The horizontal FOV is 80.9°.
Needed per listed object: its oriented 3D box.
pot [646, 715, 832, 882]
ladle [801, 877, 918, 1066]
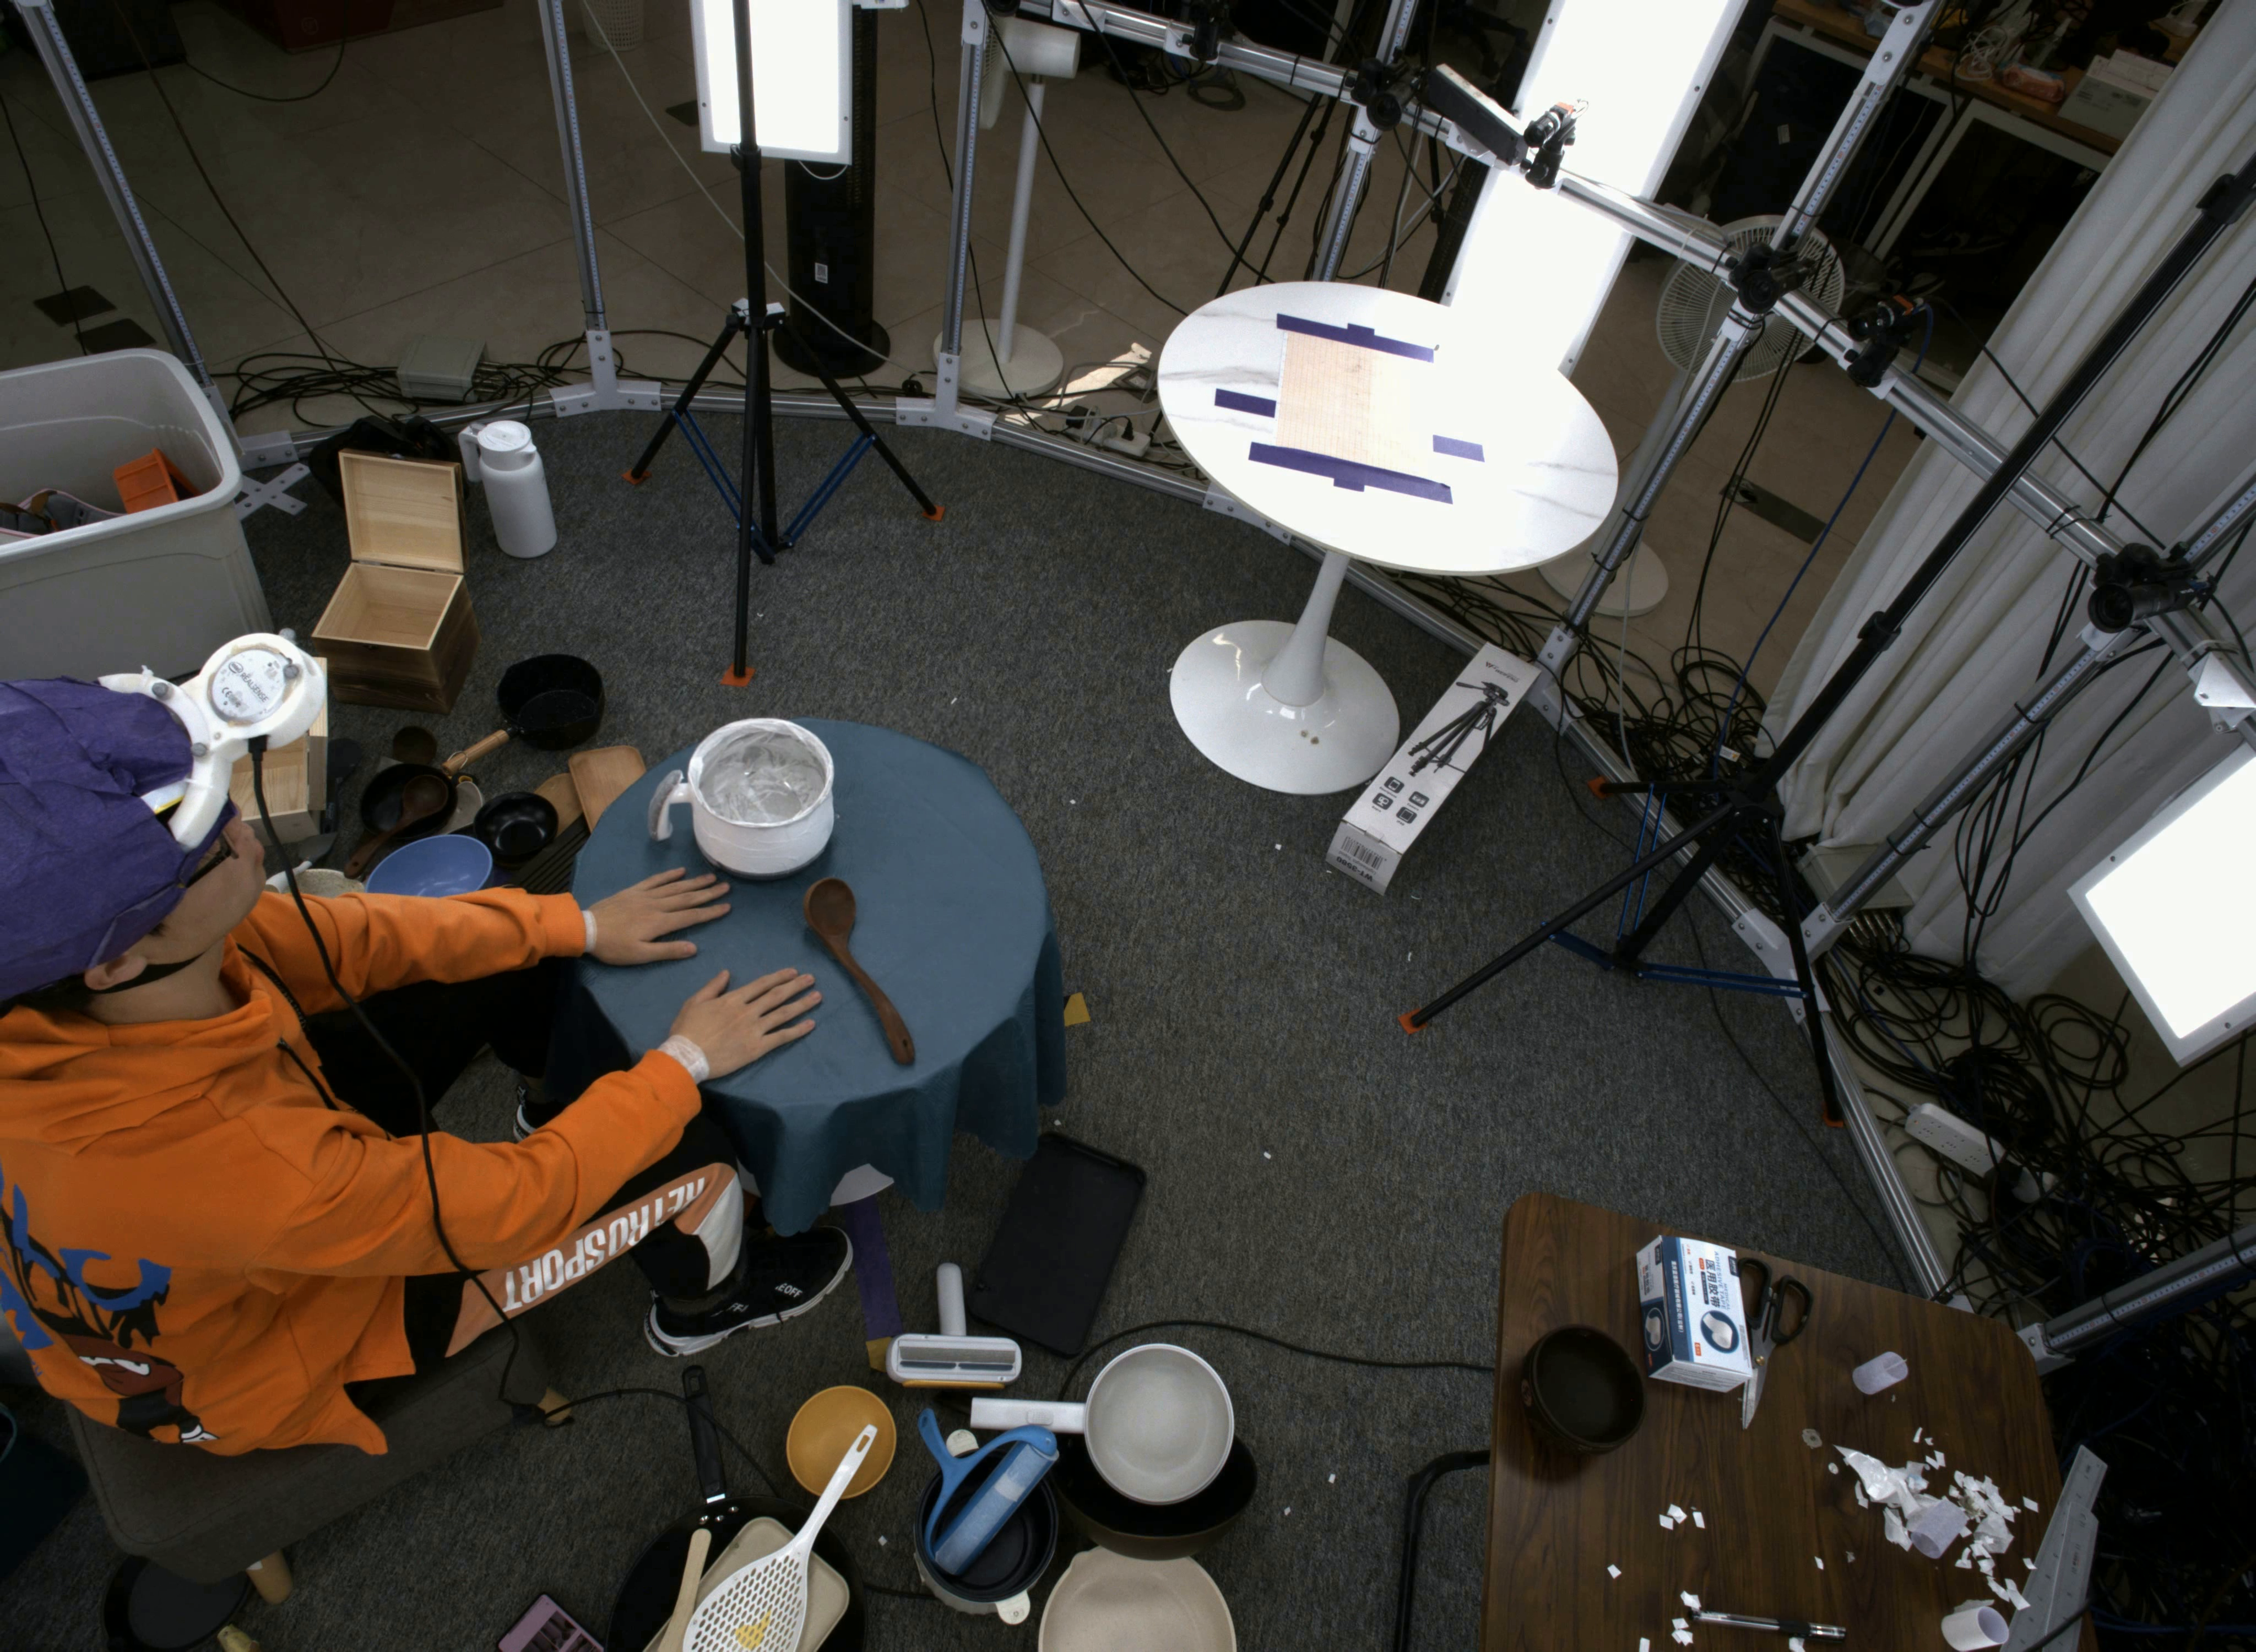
[{"bbox_3d":[-0.491,-0.029,1.629,0.234,0.139,0.174,-5,54,-18],"label":"pot"},{"bbox_3d":[-0.318,0.170,1.575,0.078,0.066,0.254,-11,54,-47],"label":"ladle"}]
